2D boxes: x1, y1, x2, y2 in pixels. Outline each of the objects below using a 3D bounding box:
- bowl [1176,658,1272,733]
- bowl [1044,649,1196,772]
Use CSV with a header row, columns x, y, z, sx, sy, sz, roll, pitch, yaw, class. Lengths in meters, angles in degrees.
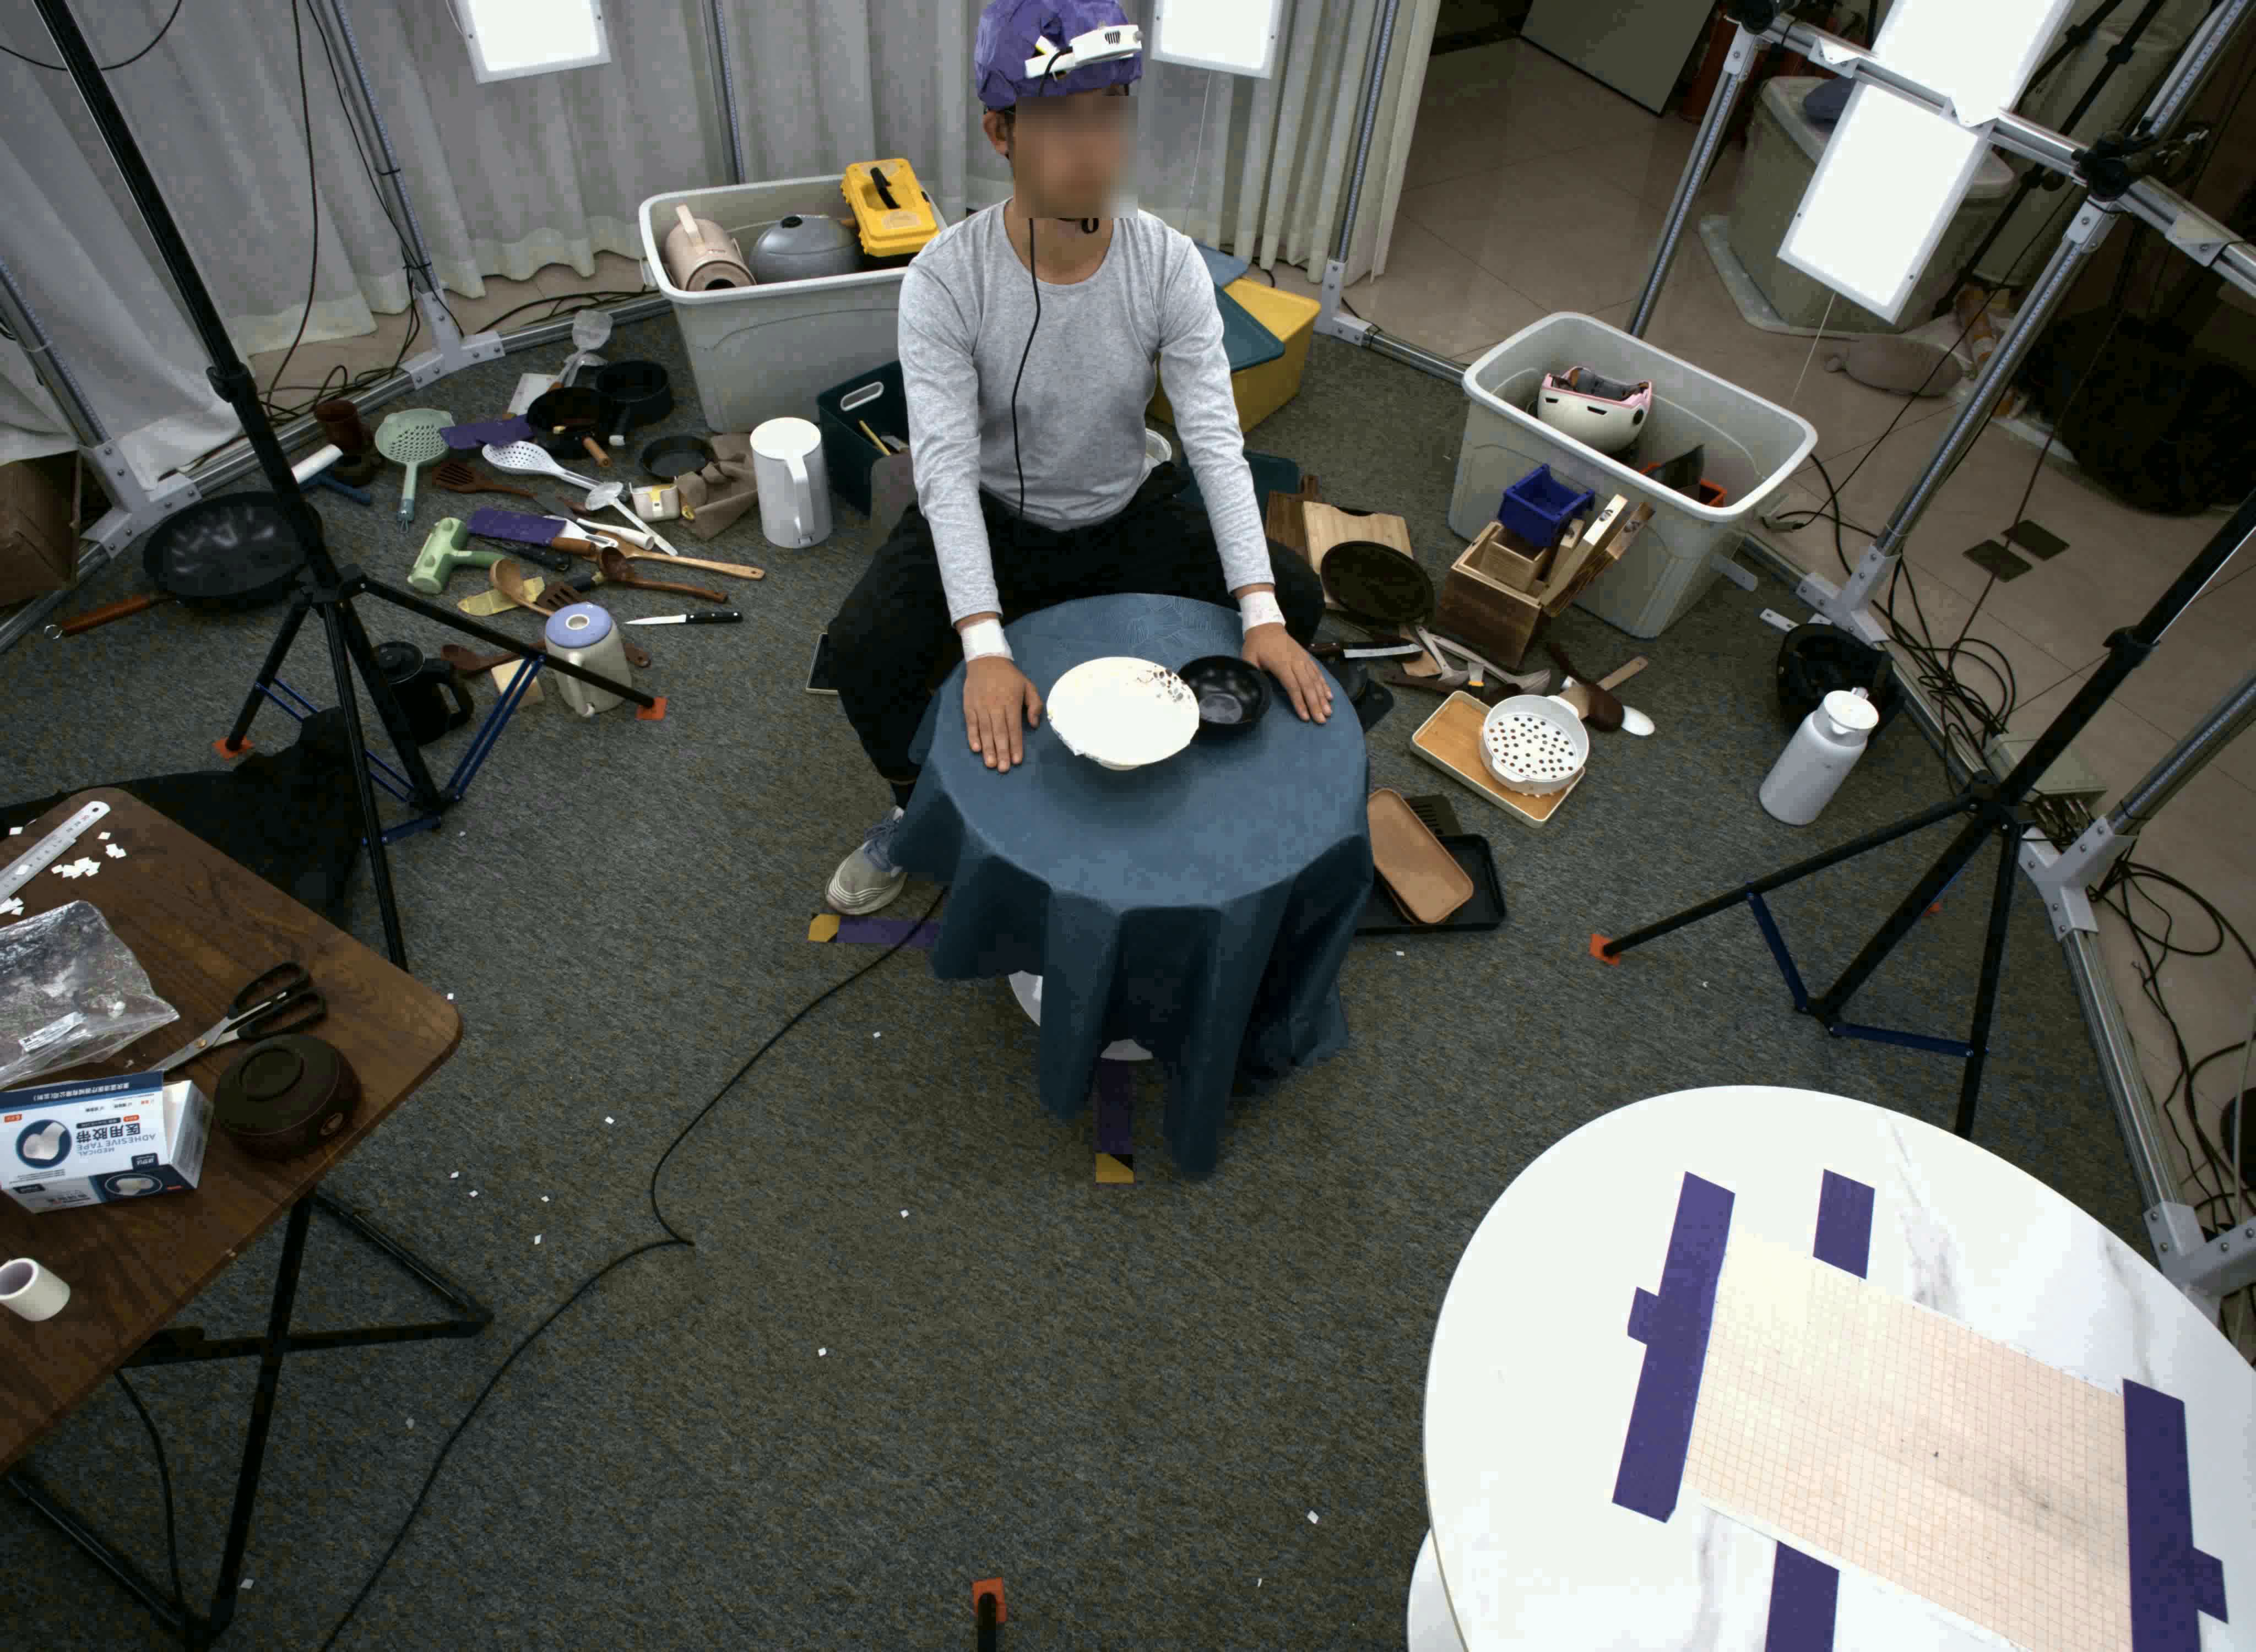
x,y,z,sx,sy,sz,roll,pitch,yaw,class
0.130,-0.174,1.799,0.140,0.048,0.143,2,44,-3,bowl
-0.014,-0.136,1.719,0.203,0.076,0.209,4,55,-6,bowl
